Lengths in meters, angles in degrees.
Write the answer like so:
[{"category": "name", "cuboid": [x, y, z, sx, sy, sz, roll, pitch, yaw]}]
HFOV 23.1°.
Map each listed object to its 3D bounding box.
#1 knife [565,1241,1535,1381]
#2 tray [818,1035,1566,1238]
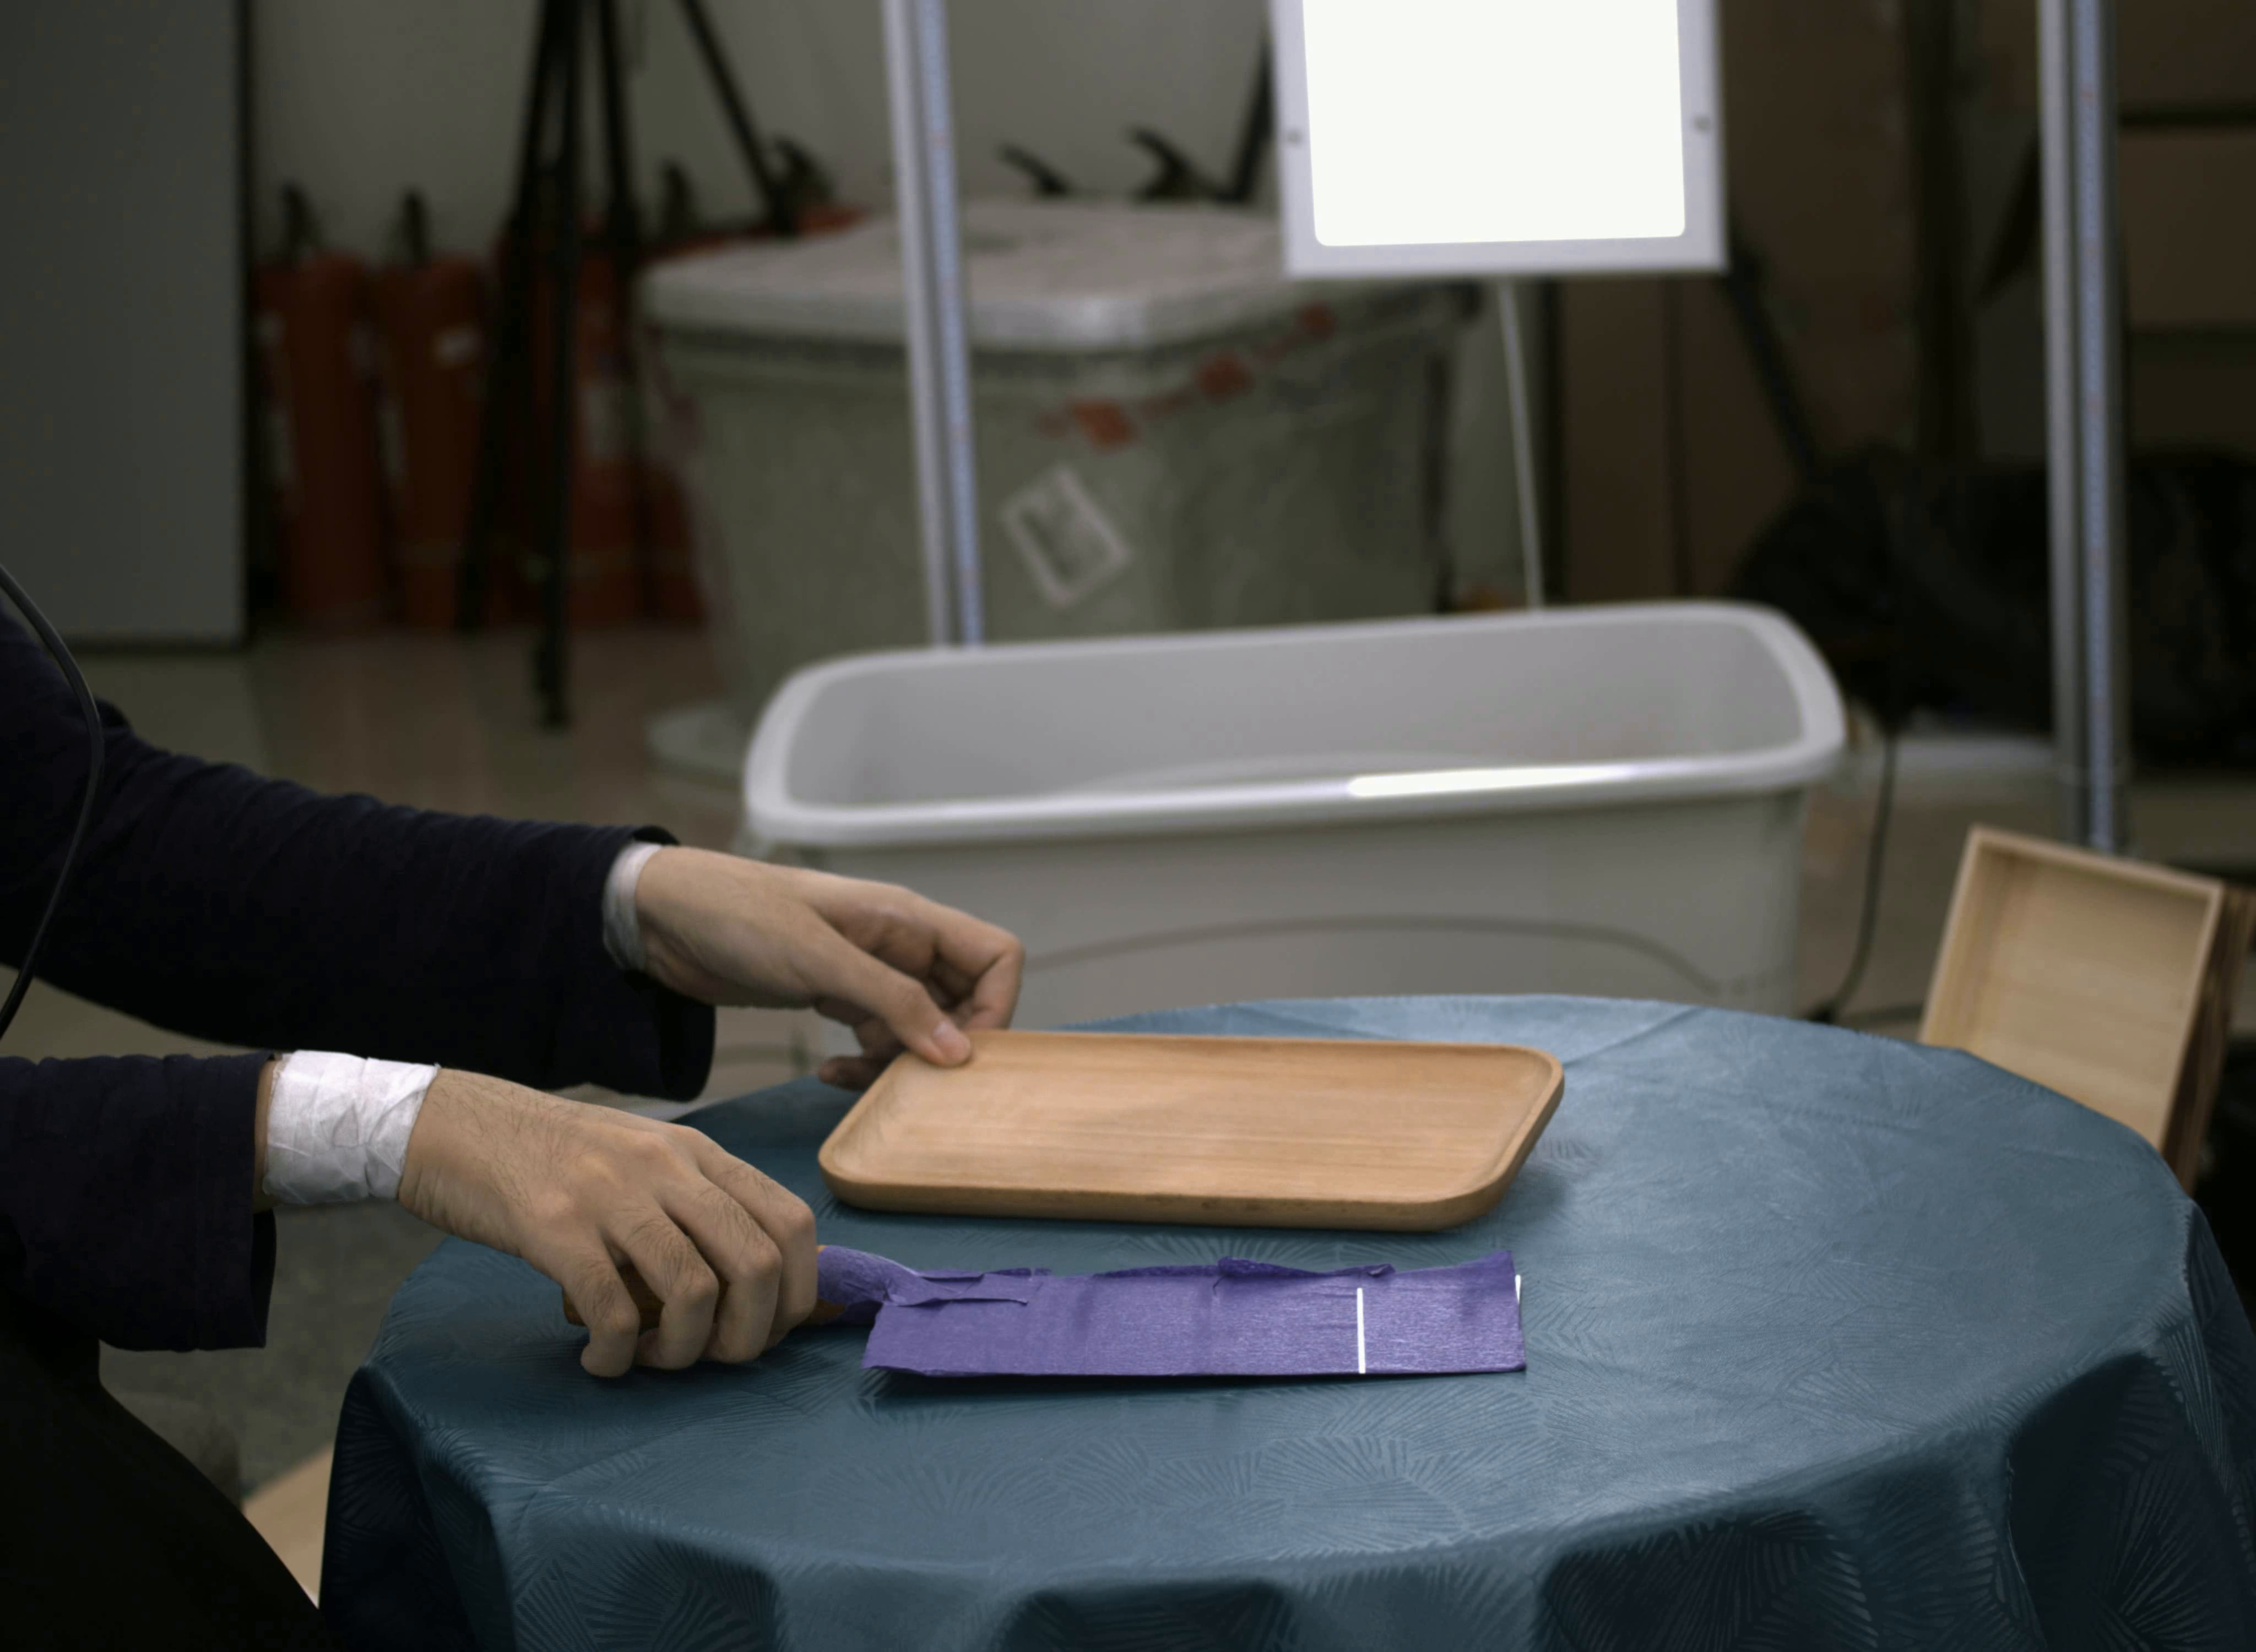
[{"category": "knife", "cuboid": [-0.028, 0.153, 1.750, 0.316, 0.032, 0.103, -3, 13, 7]}, {"category": "tray", "cuboid": [0.022, 0.107, 1.913, 0.254, 0.023, 0.128, 2, 25, 24]}]
